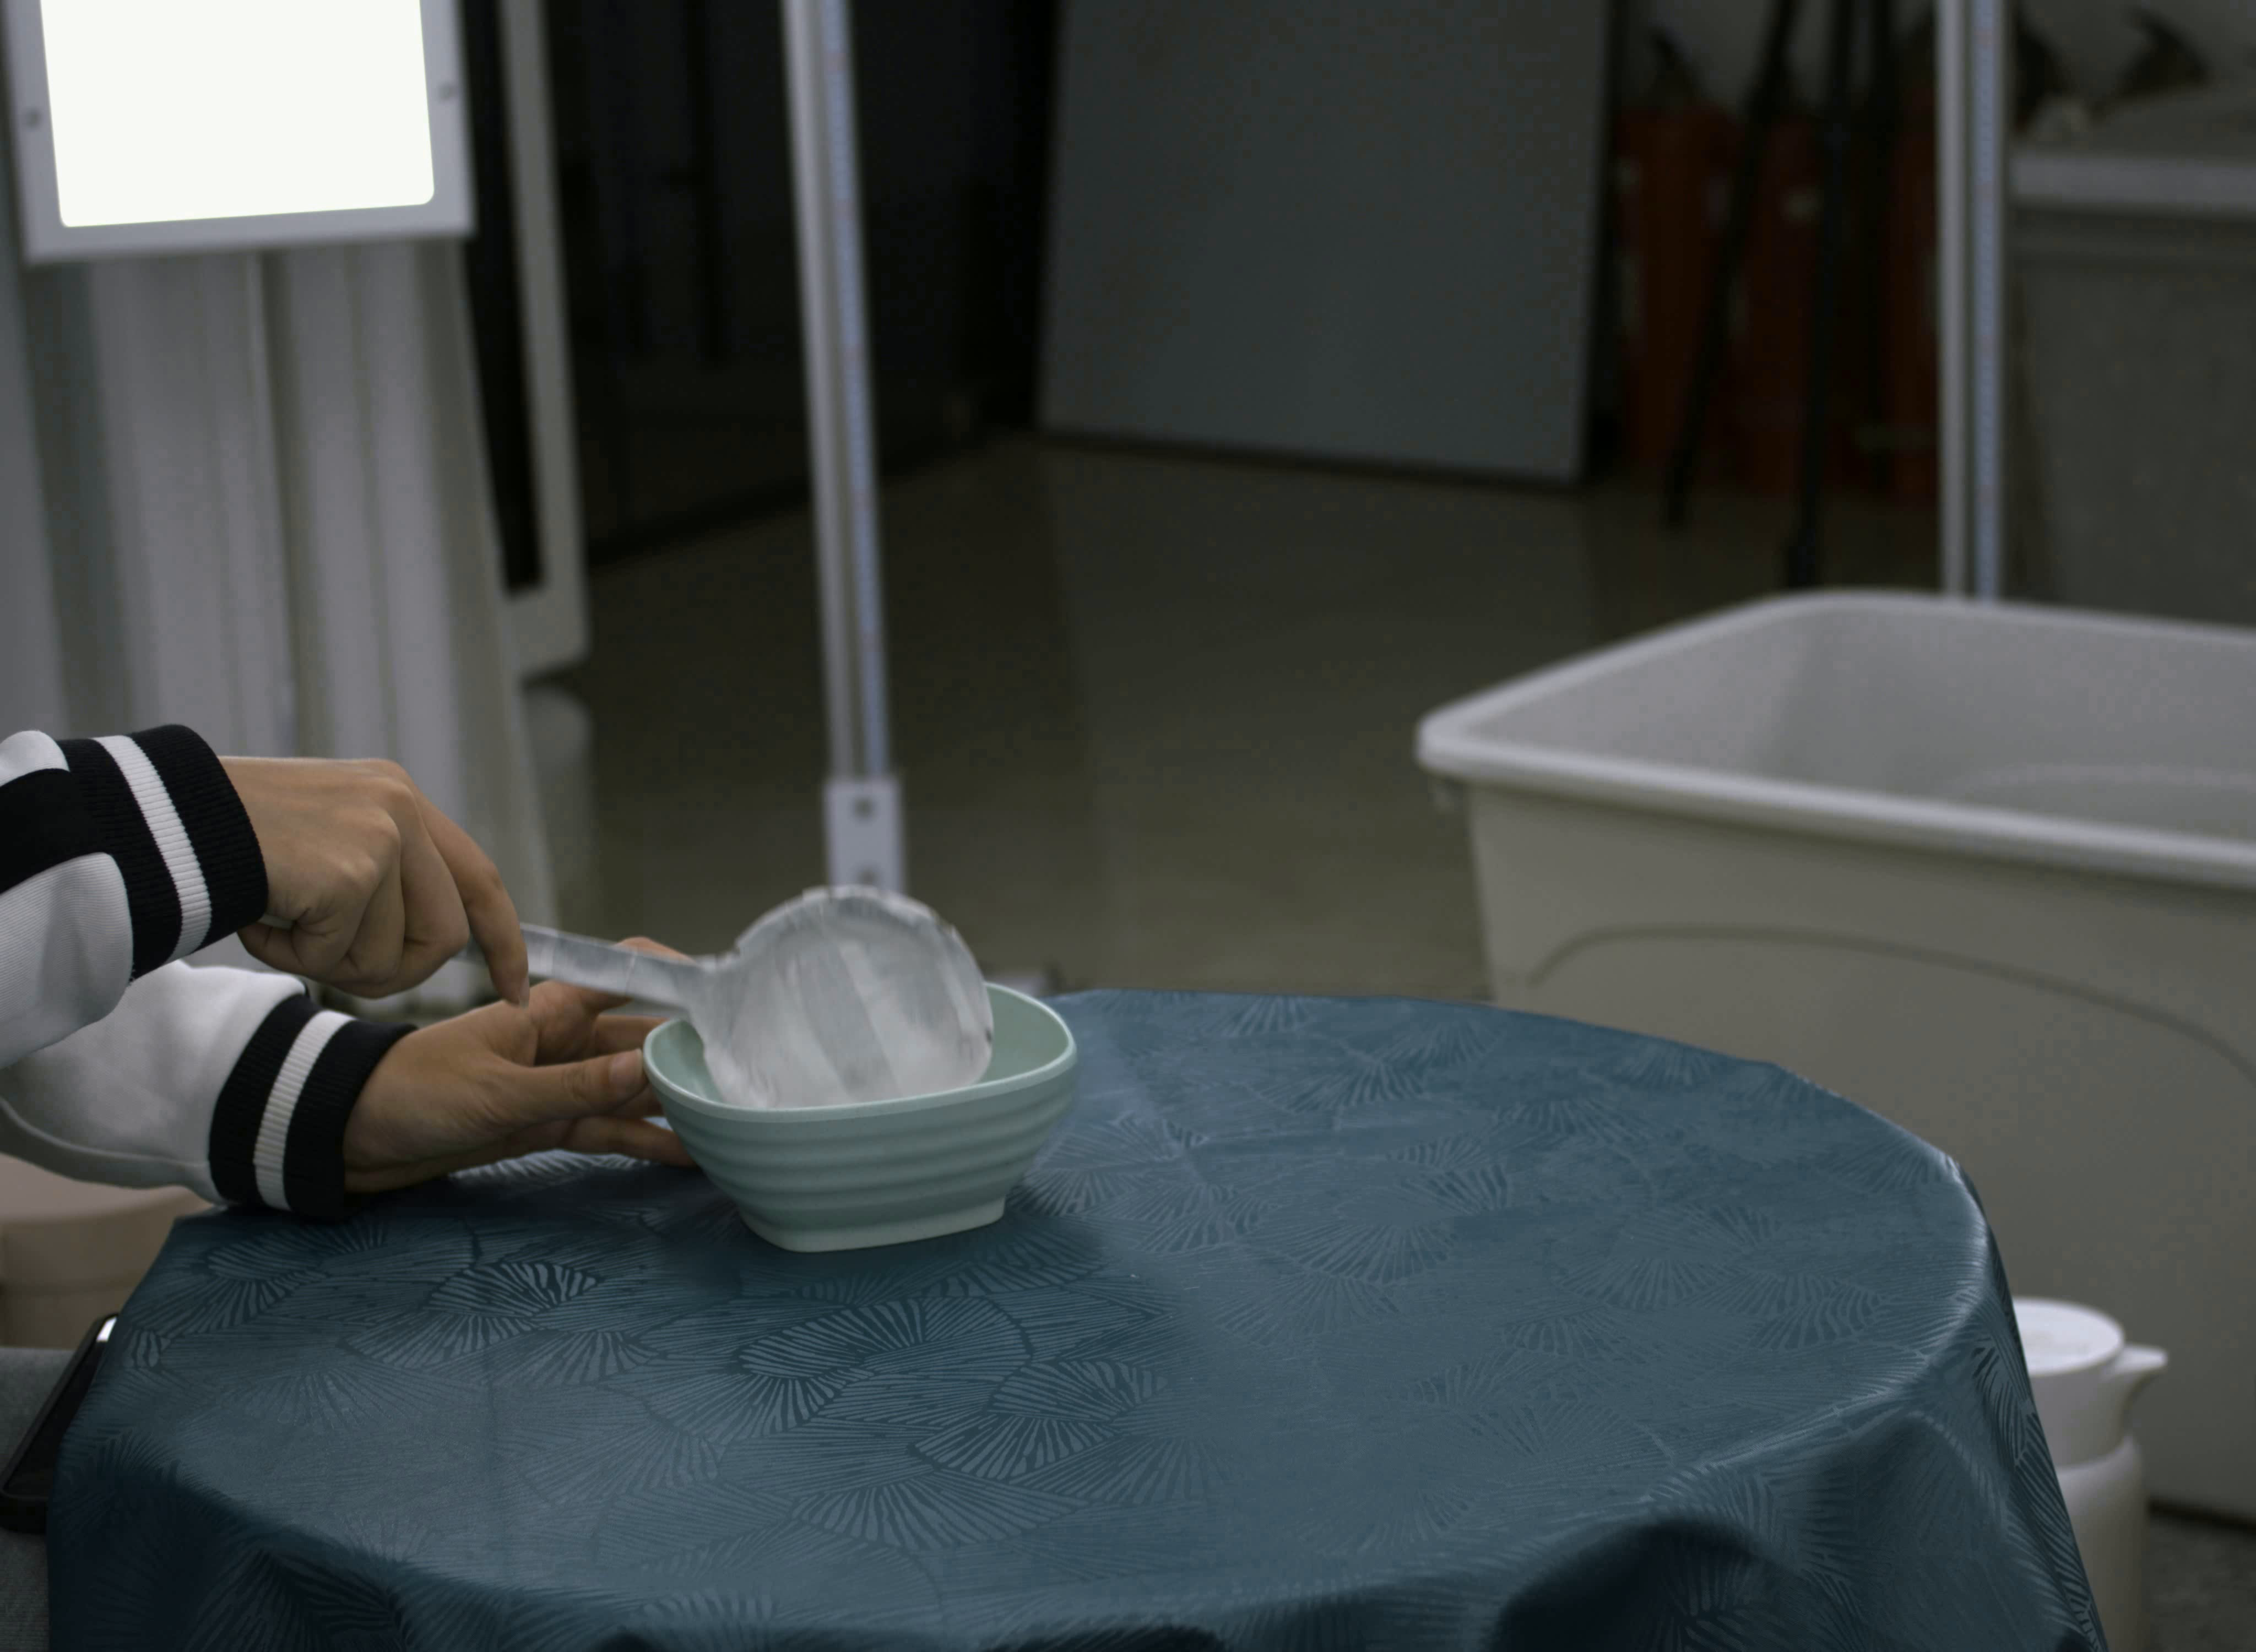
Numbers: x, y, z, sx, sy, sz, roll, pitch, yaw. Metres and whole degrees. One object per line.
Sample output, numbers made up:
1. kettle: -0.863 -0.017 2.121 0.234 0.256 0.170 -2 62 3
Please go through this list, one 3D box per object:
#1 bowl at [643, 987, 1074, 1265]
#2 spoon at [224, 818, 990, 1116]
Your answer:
1. bowl: -0.087 0.101 1.767 0.149 0.059 0.152 -4 14 0
2. spoon: -0.154 0.040 1.662 0.060 0.101 0.272 17 -4 46
